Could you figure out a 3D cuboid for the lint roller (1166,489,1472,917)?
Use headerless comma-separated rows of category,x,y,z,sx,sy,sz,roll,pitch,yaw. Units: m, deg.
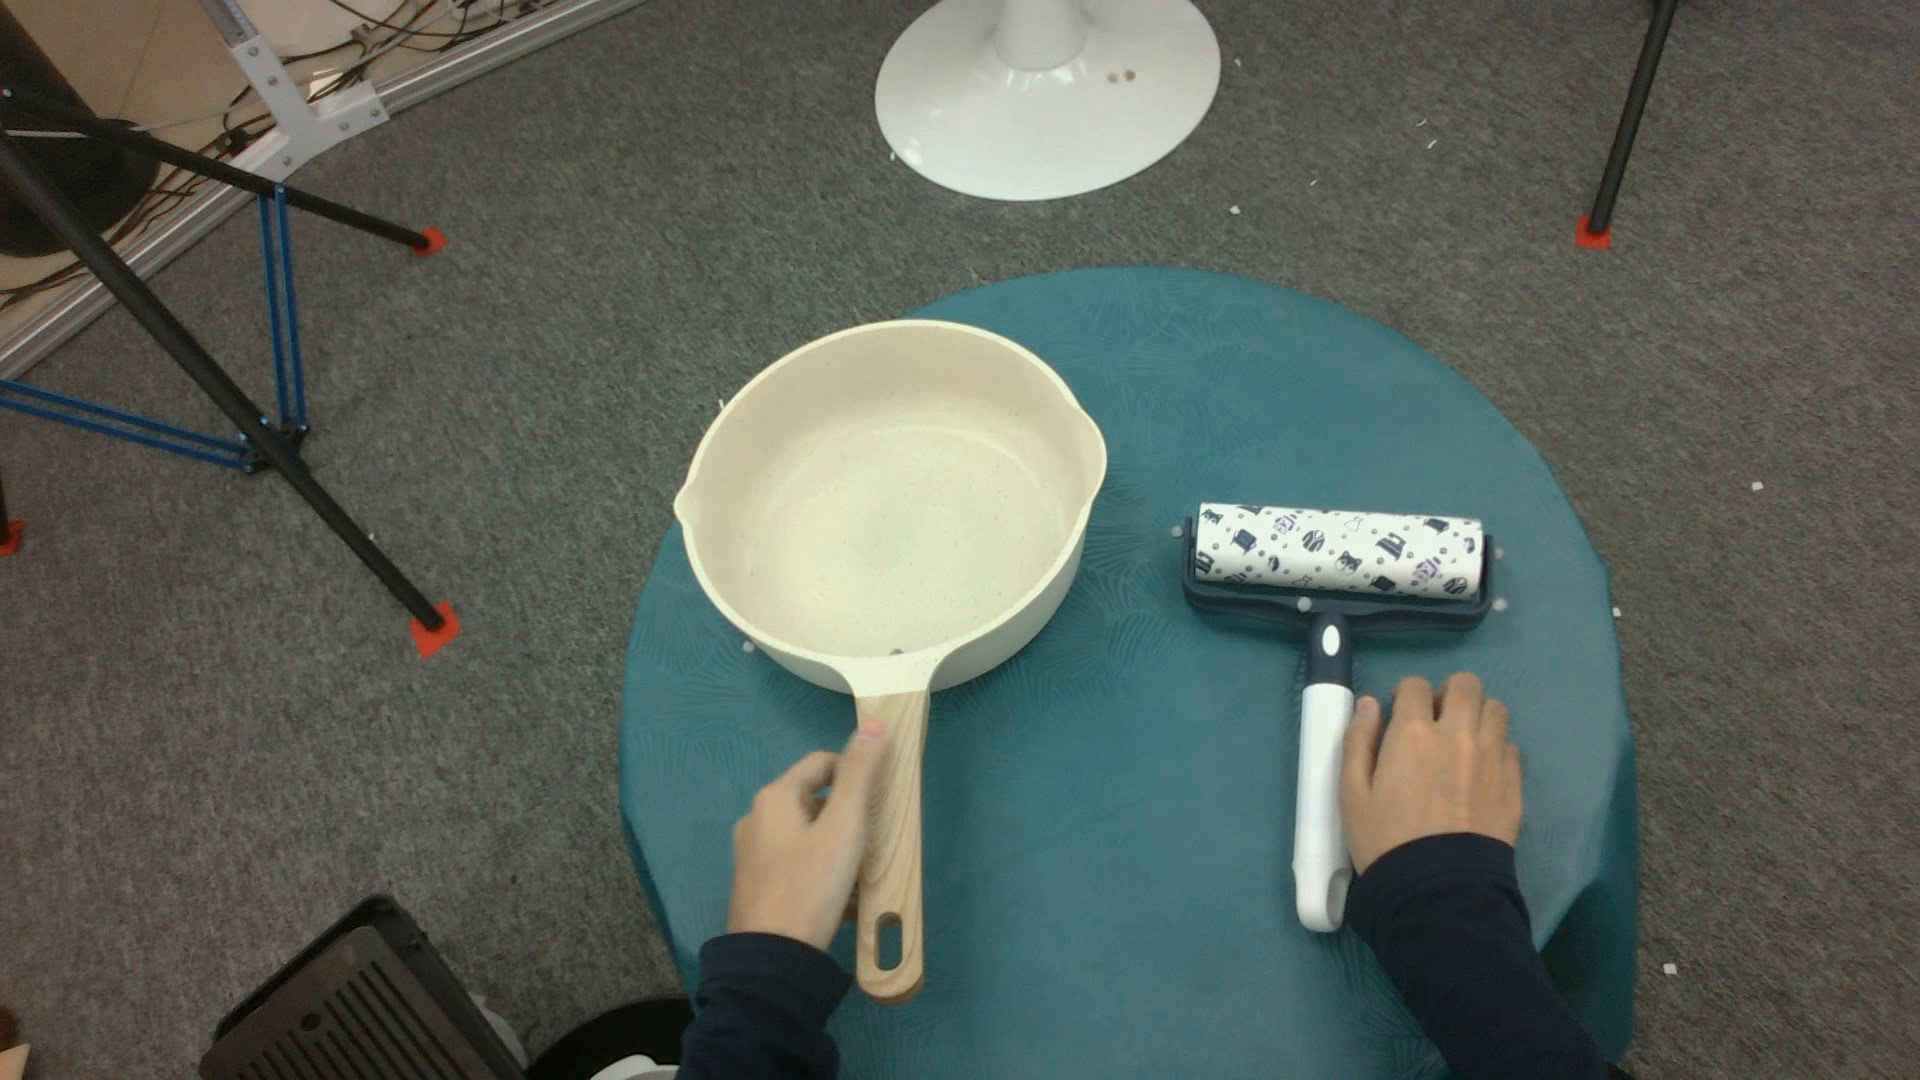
lint roller,0.199,0.084,0.773,0.176,0.050,0.248,3,61,9

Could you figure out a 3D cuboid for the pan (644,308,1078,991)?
pan,-0.048,0.050,0.797,0.263,0.101,0.436,-8,57,2
